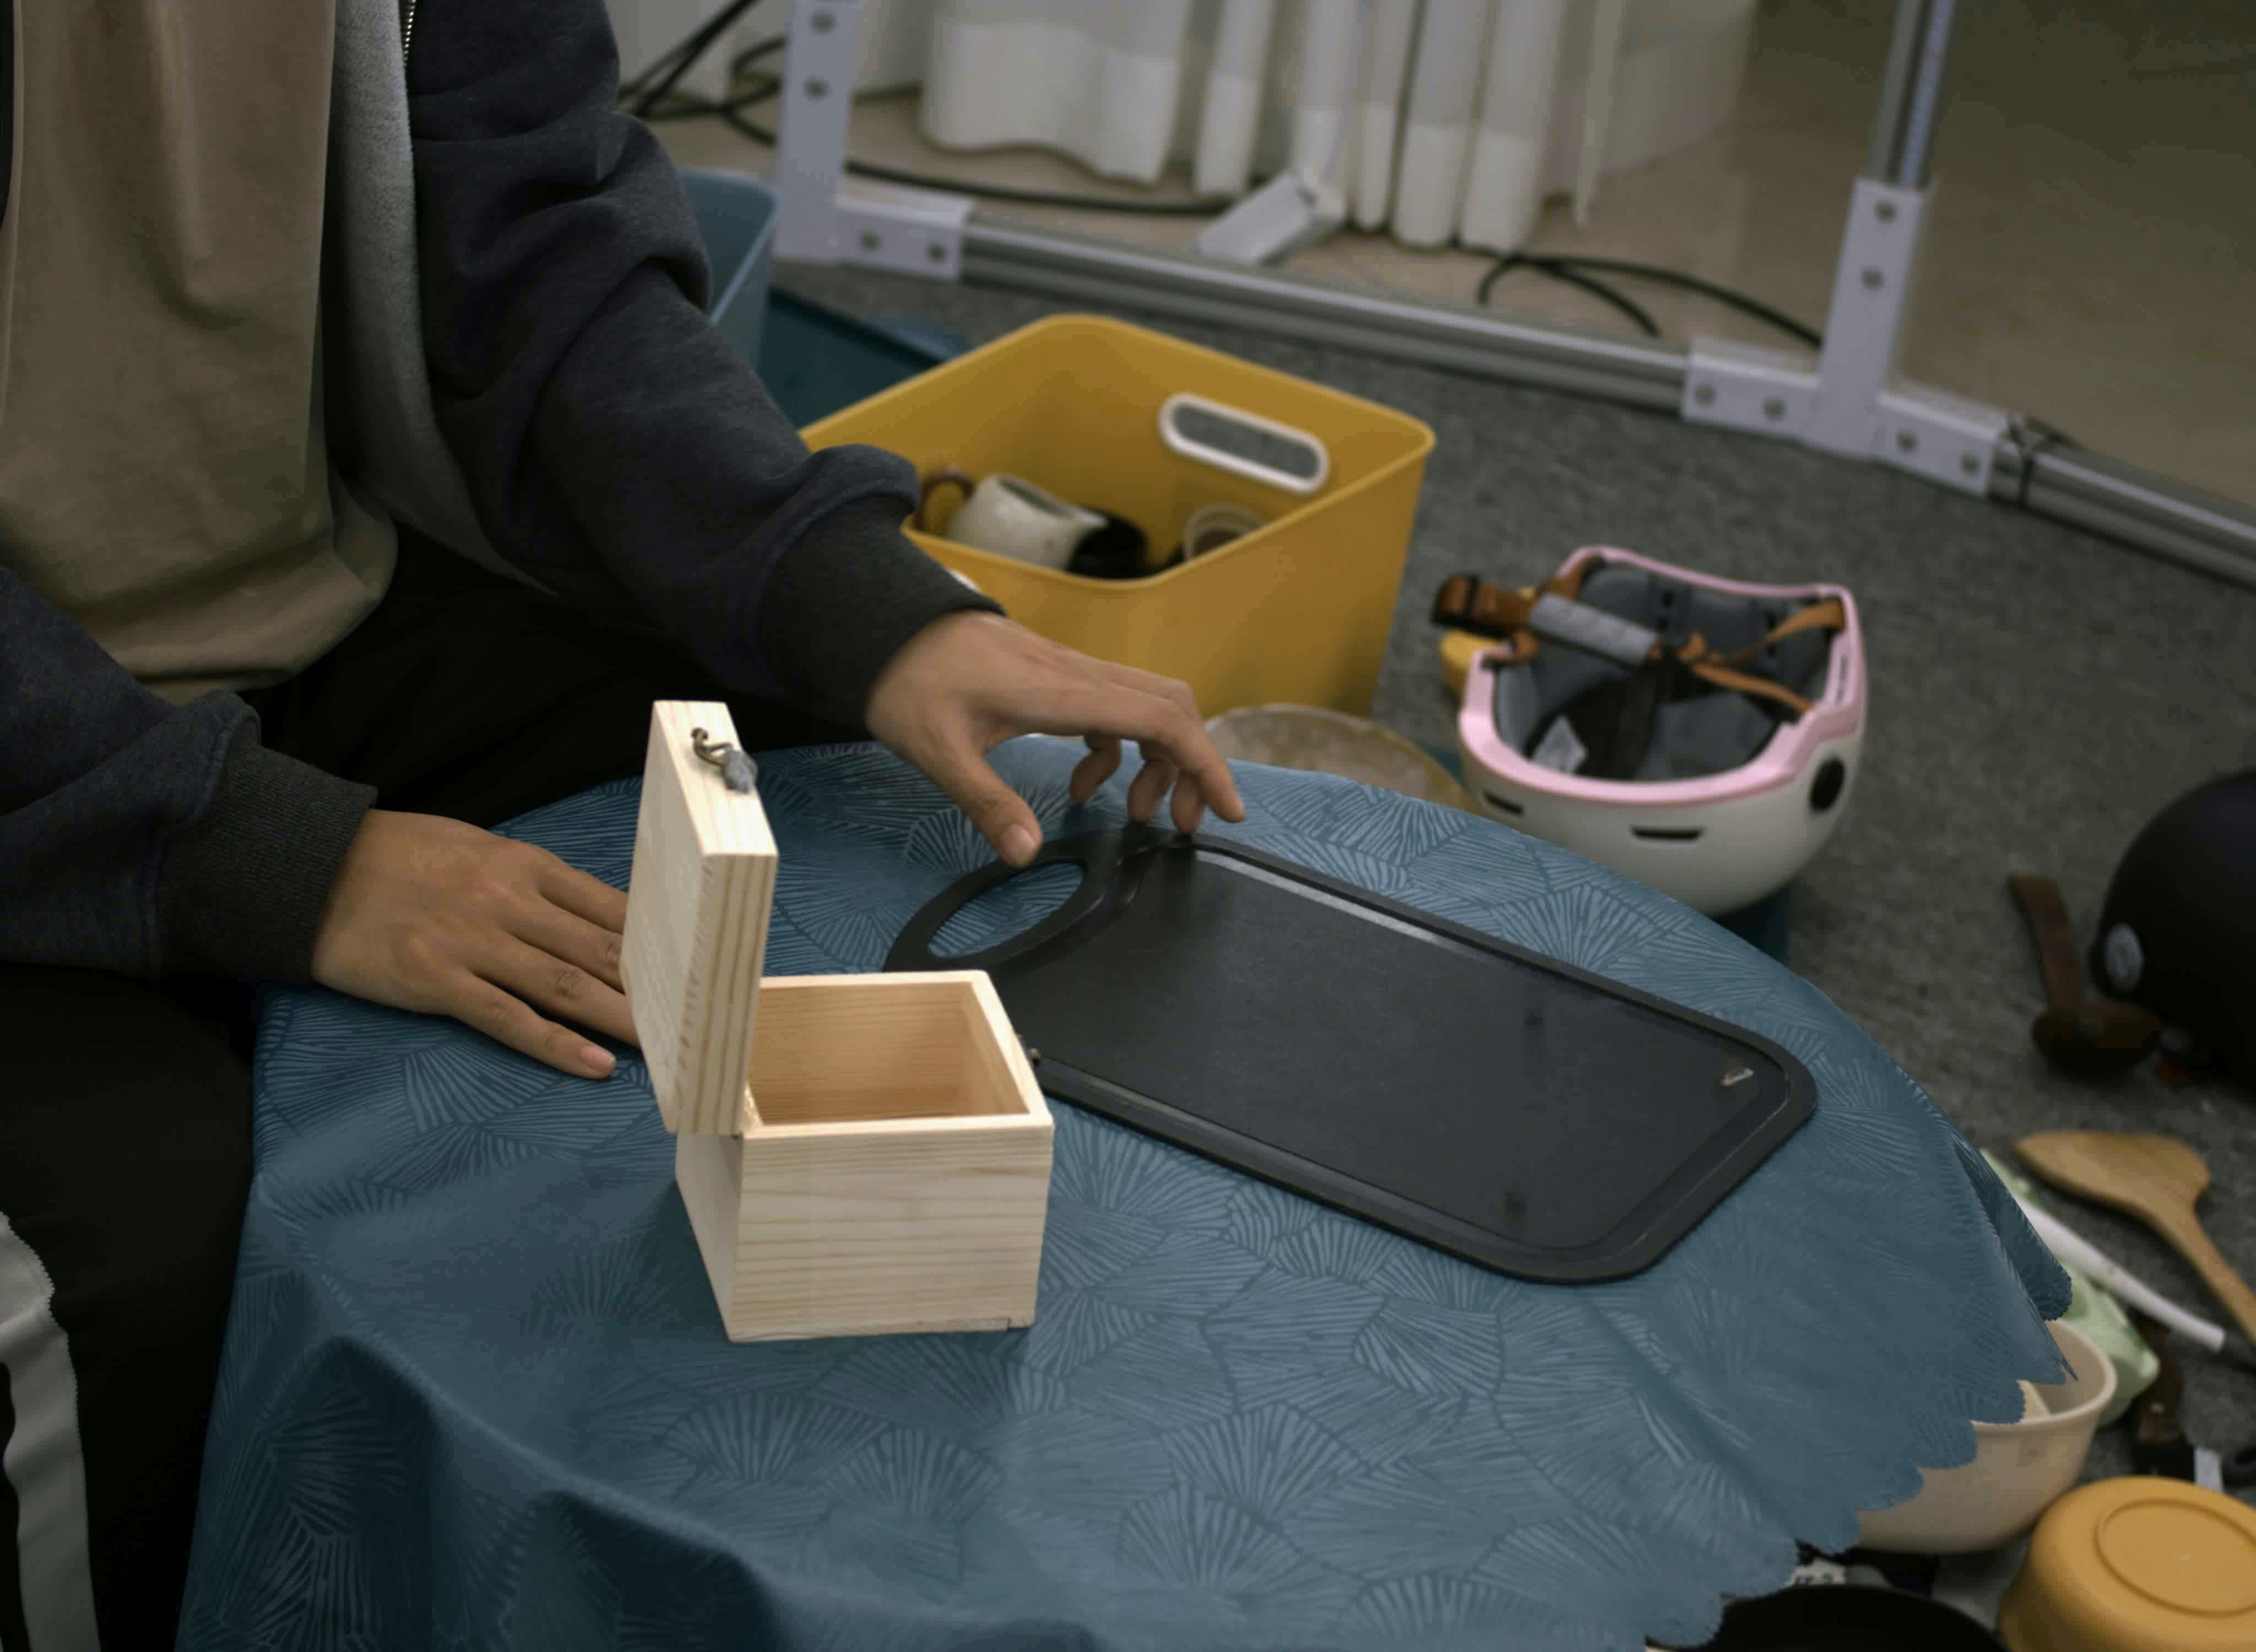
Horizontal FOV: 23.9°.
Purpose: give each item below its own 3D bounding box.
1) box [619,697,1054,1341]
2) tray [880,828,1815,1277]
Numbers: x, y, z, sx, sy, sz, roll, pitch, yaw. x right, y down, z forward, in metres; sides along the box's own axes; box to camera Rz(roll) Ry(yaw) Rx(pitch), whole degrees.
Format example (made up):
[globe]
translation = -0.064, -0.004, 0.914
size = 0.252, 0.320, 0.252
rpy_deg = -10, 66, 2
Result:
[box]
translation = -0.091, 0.059, 1.704
size = 0.133, 0.184, 0.103
rpy_deg = -2, 29, -14
[tray]
translation = 0.072, 0.073, 1.910
size = 0.327, 0.010, 0.210
rpy_deg = 21, 30, 26
